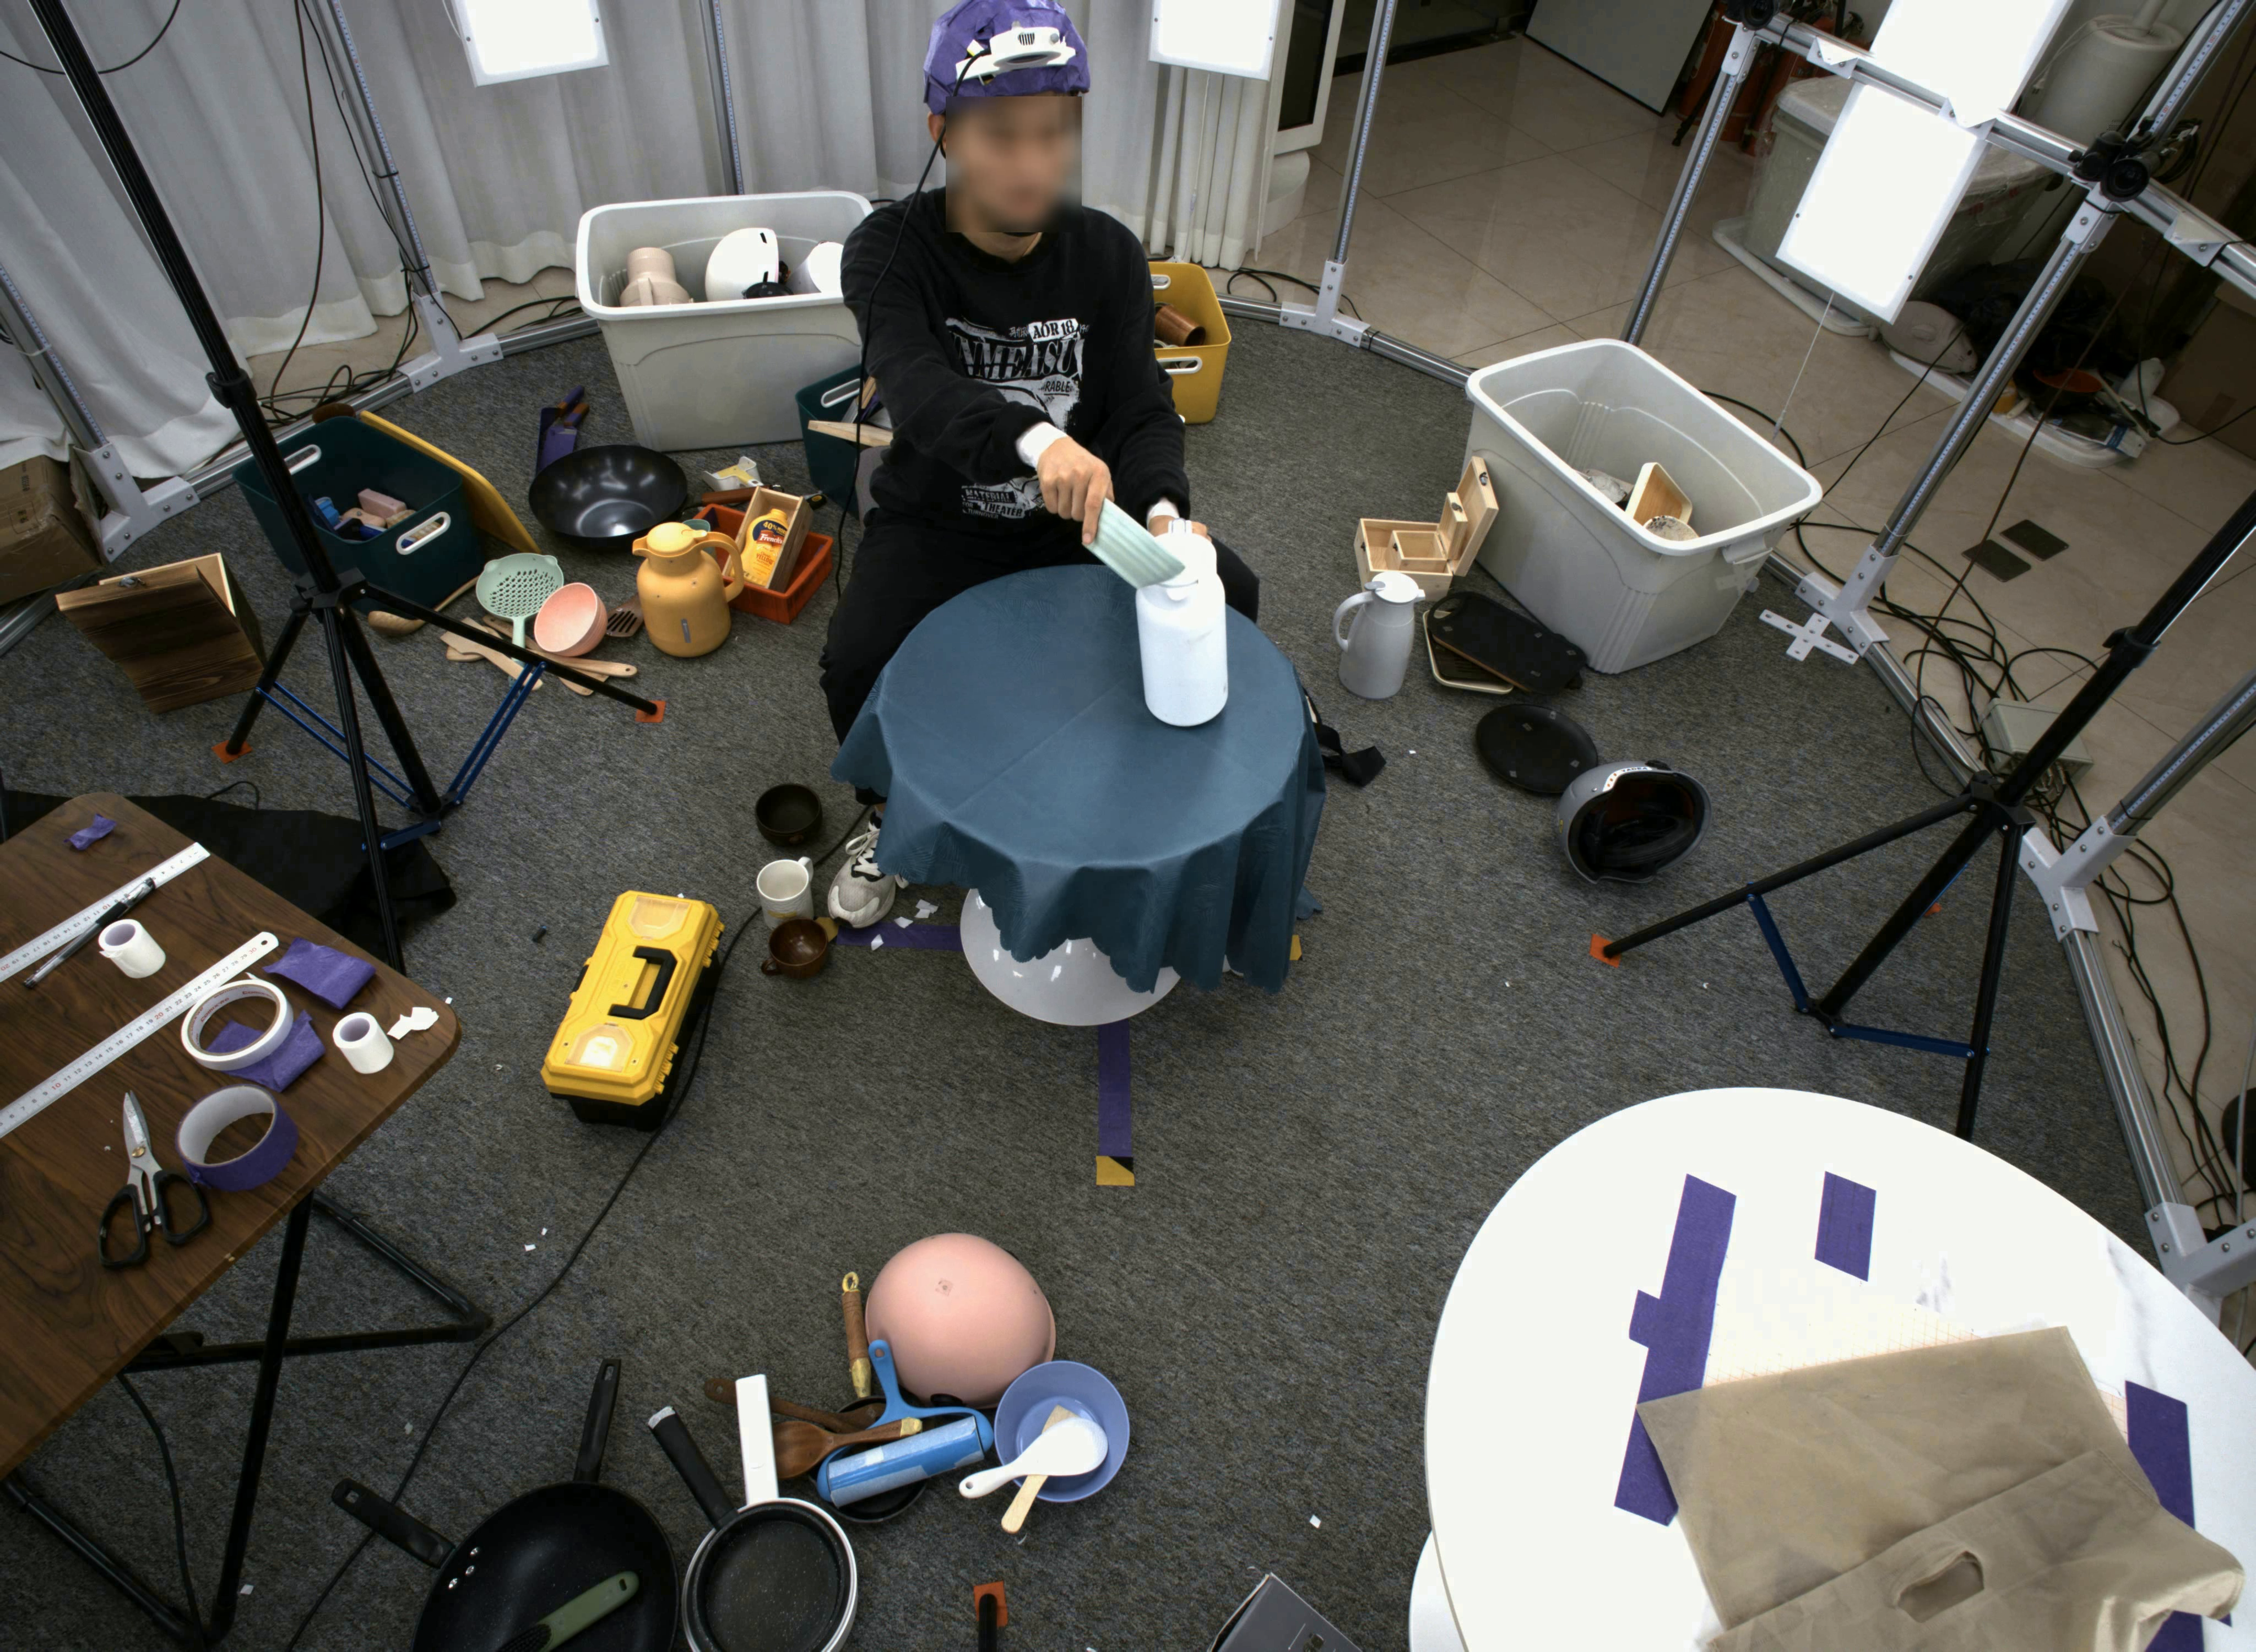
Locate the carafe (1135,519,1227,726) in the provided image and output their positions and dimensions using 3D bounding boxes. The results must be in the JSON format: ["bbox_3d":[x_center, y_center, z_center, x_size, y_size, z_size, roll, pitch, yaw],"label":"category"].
[{"bbox_3d":[0.071,-0.275,1.733,0.124,0.262,0.177,-3,52,6],"label":"carafe"}]

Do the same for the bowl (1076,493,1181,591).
[{"bbox_3d":[-0.010,-0.331,1.539,0.154,0.149,0.058,42,98,27],"label":"bowl"}]
